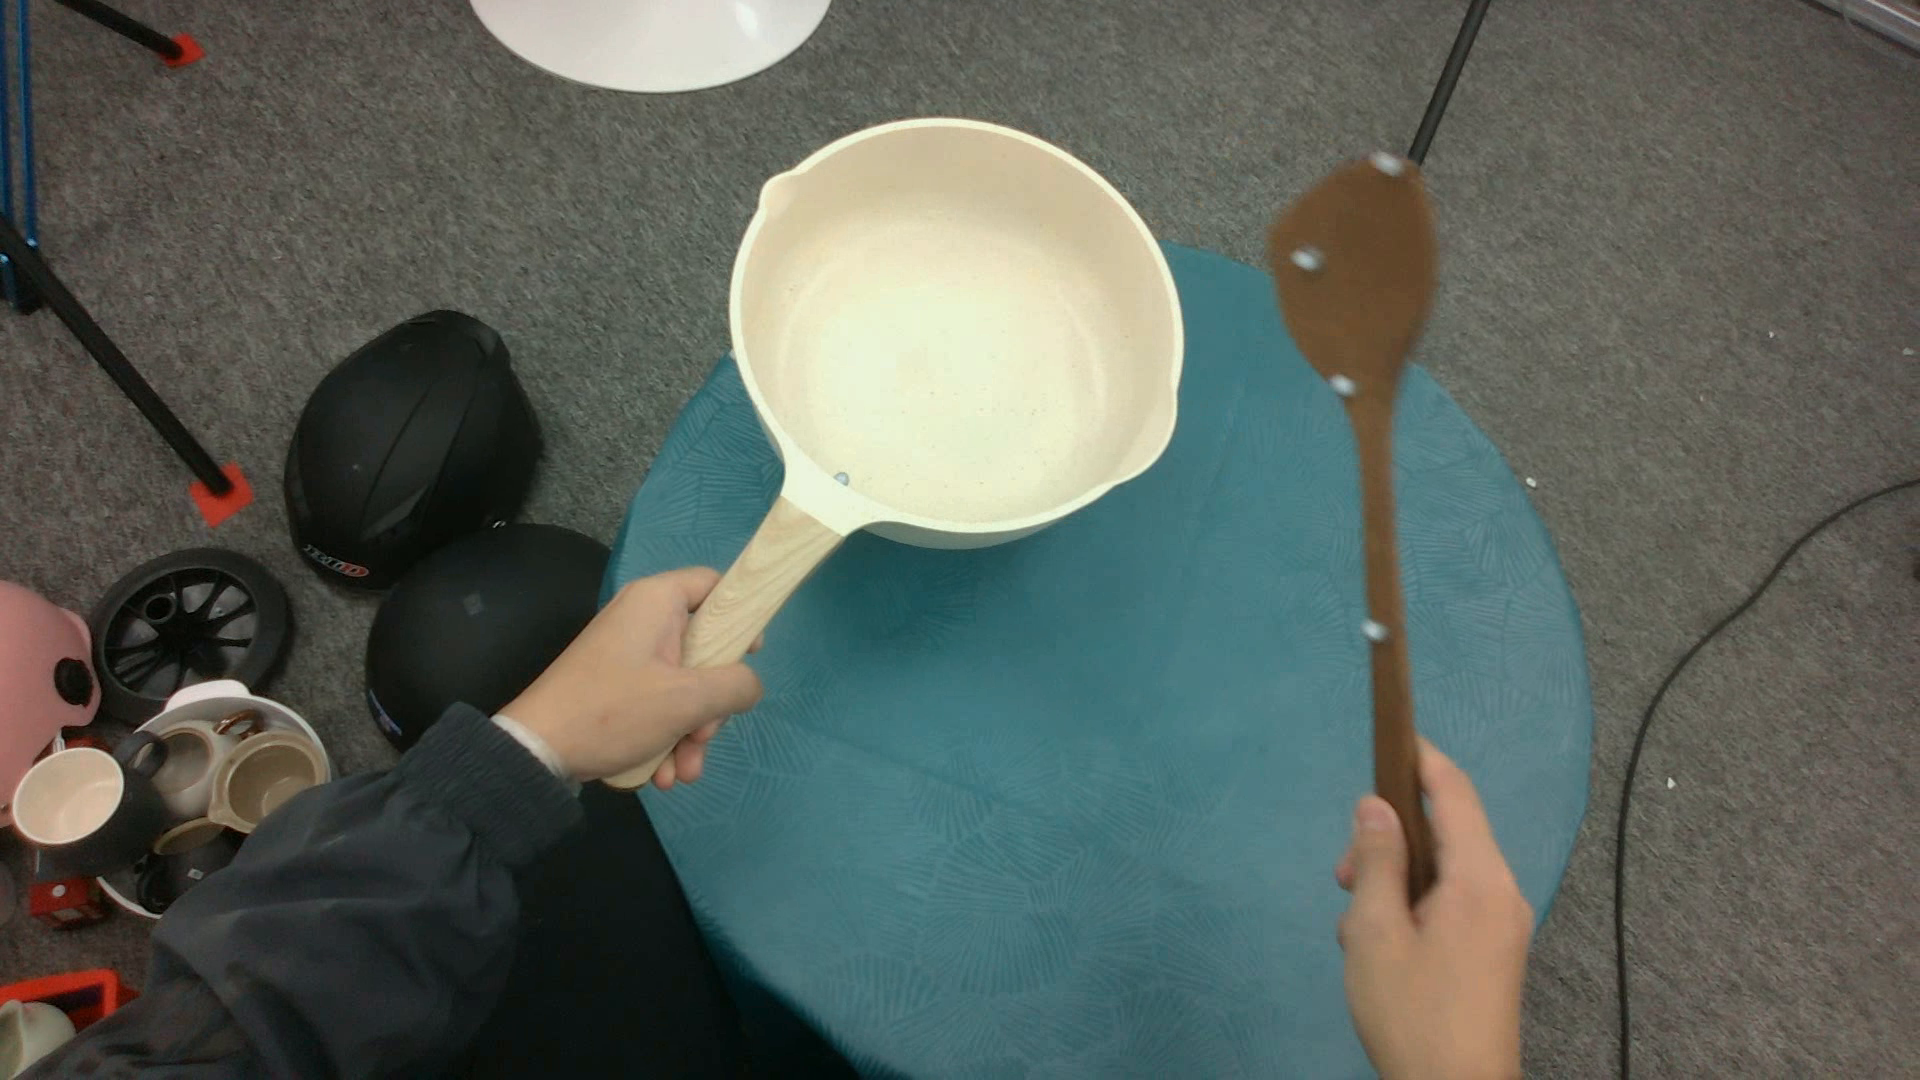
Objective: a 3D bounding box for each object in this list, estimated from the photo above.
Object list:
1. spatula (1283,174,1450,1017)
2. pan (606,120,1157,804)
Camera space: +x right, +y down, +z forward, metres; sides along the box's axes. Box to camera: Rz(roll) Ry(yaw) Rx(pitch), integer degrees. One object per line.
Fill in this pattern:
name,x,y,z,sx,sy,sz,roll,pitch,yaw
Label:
spatula,0.197,0.017,0.635,0.016,0.096,0.386,9,74,-33
pan,-0.061,-0.042,0.758,0.263,0.101,0.436,31,68,1
